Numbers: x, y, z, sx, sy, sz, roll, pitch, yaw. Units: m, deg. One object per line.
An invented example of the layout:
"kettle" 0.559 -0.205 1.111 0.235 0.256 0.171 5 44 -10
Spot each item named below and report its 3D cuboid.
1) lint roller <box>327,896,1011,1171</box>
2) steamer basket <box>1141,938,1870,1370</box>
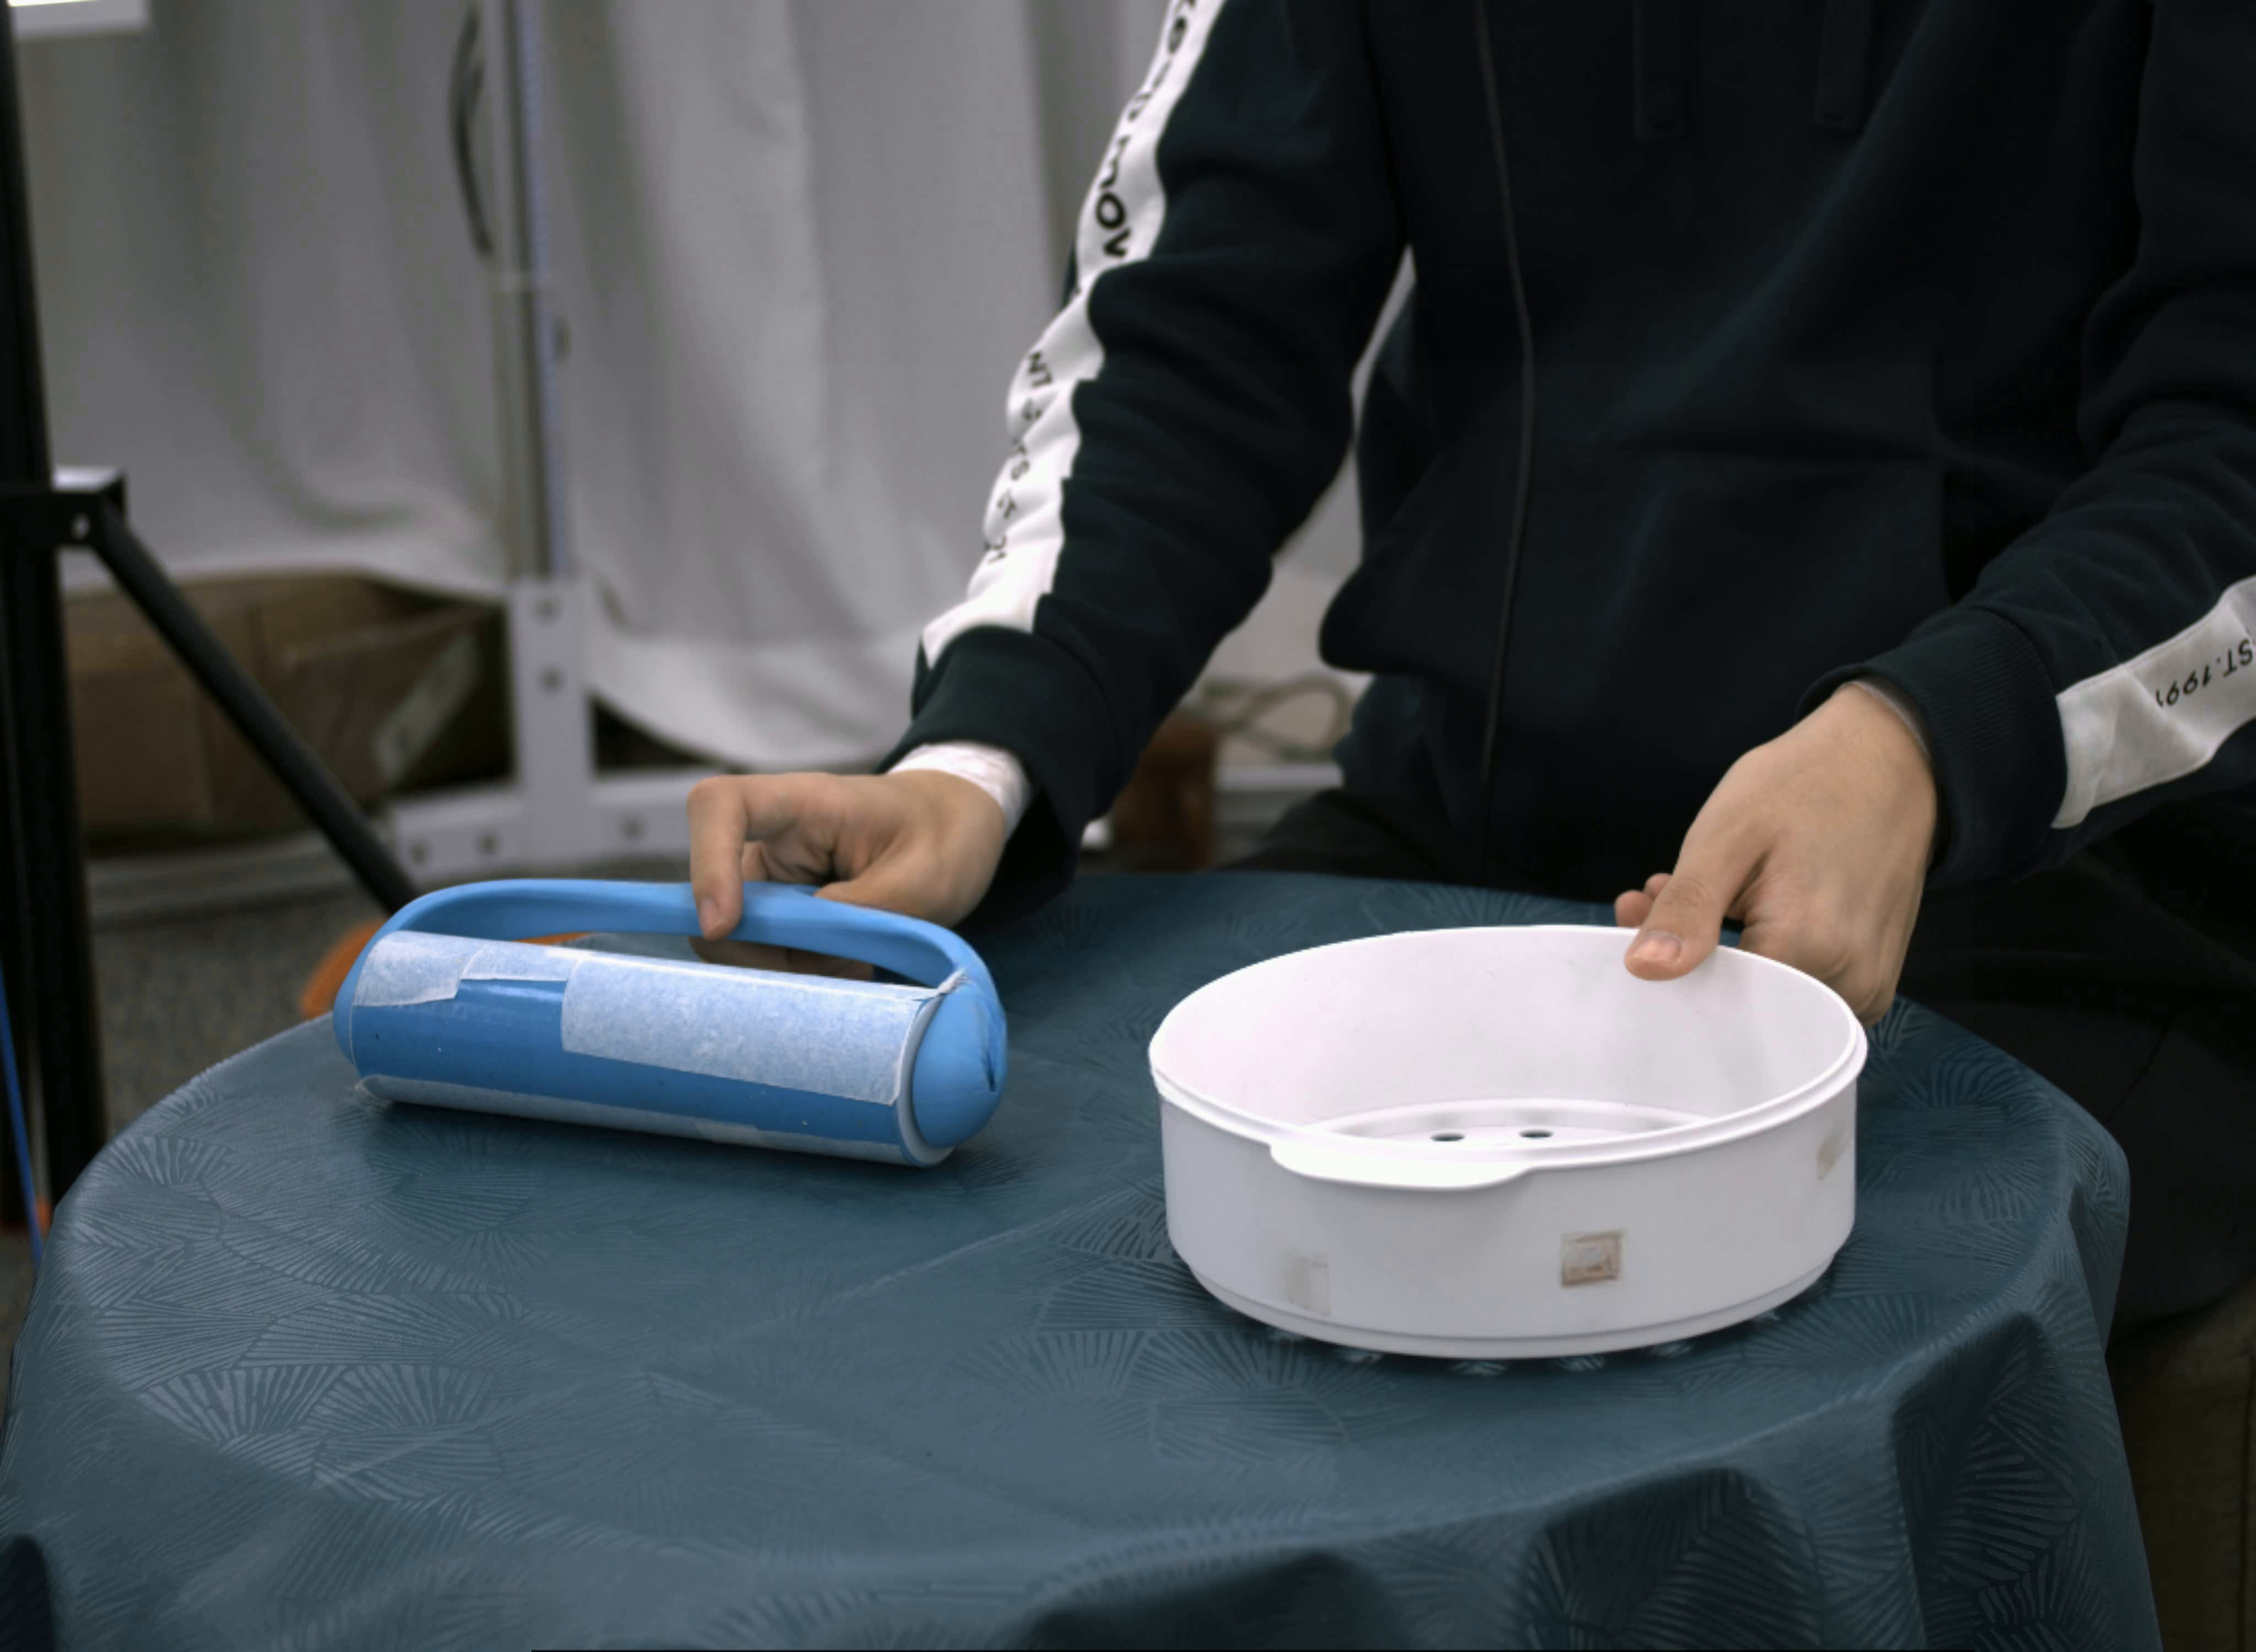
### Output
"lint roller" -0.121 0.052 1.675 0.232 0.068 0.178 2 17 23
"steamer basket" 0.105 0.091 1.476 0.204 0.069 0.227 5 17 22
